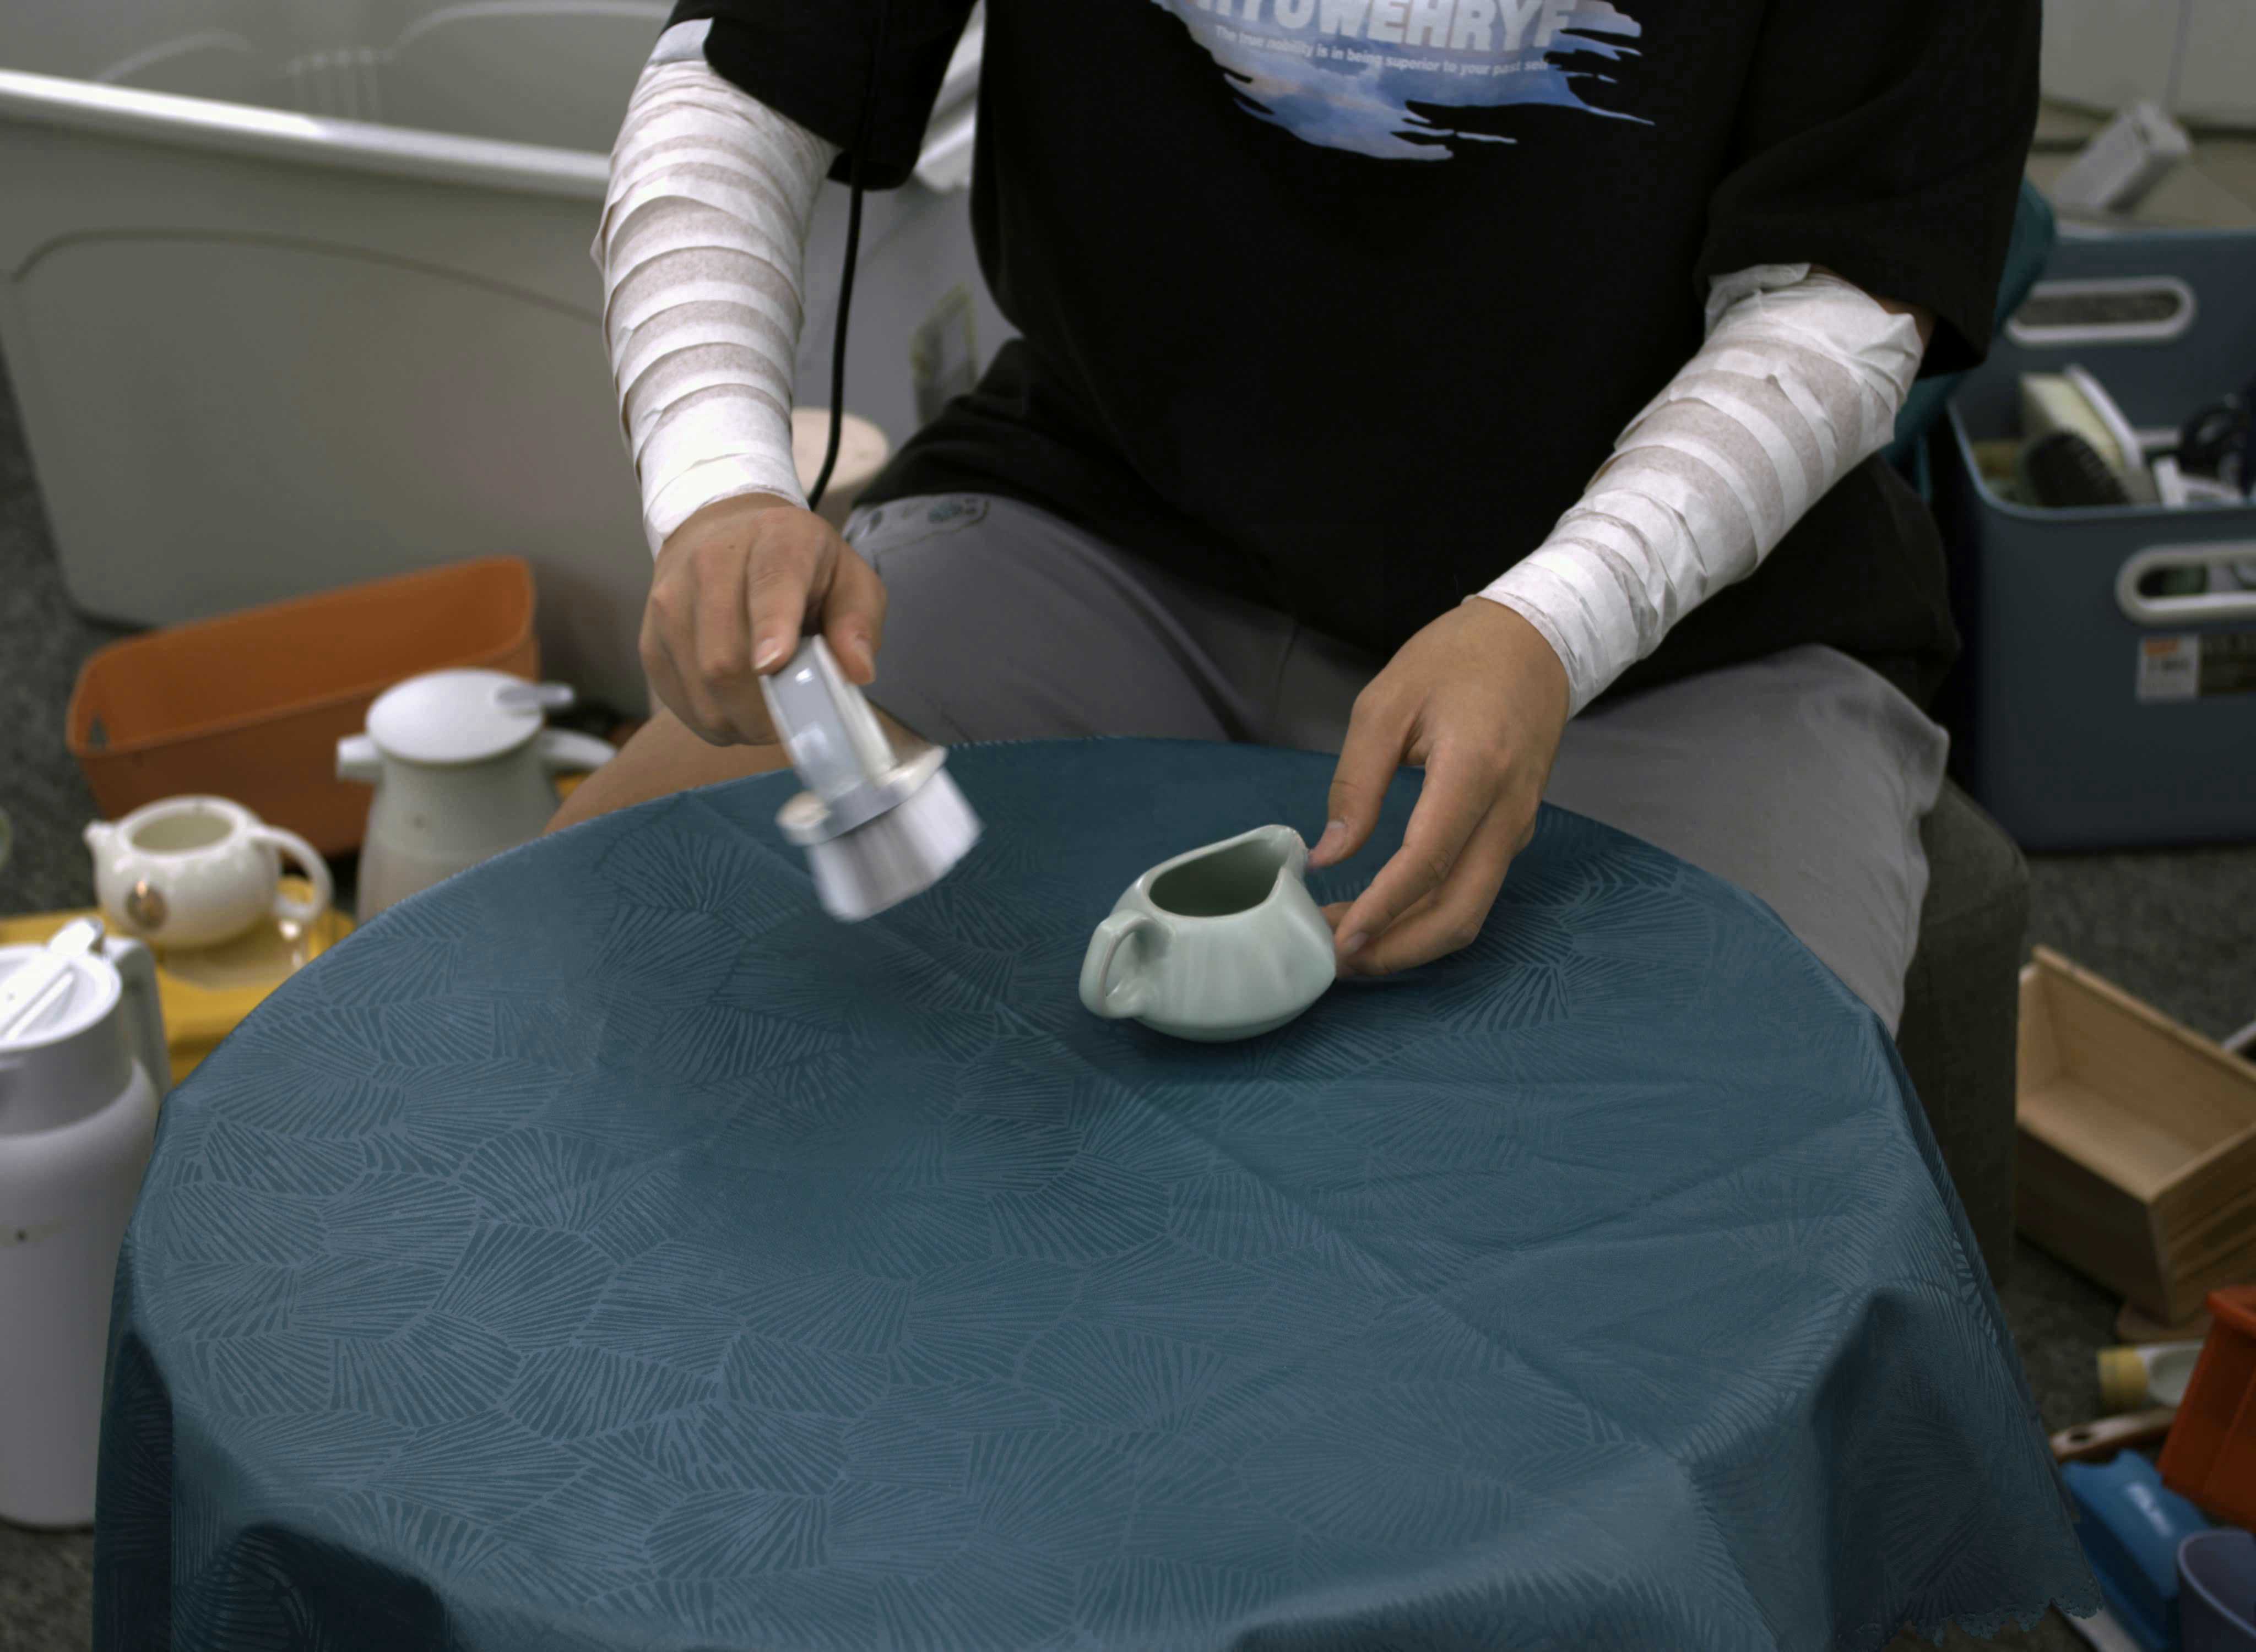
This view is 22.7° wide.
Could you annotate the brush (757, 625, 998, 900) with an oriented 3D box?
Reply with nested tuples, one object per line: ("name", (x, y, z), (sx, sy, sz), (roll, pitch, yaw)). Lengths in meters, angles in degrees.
("brush", (-0.090, -0.025, 1.913), (0.061, 0.094, 0.176), (-35, 8, 0))

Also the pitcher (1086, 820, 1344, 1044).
("pitcher", (0.025, 0.044, 1.949), (0.086, 0.060, 0.109), (18, 36, 36))
